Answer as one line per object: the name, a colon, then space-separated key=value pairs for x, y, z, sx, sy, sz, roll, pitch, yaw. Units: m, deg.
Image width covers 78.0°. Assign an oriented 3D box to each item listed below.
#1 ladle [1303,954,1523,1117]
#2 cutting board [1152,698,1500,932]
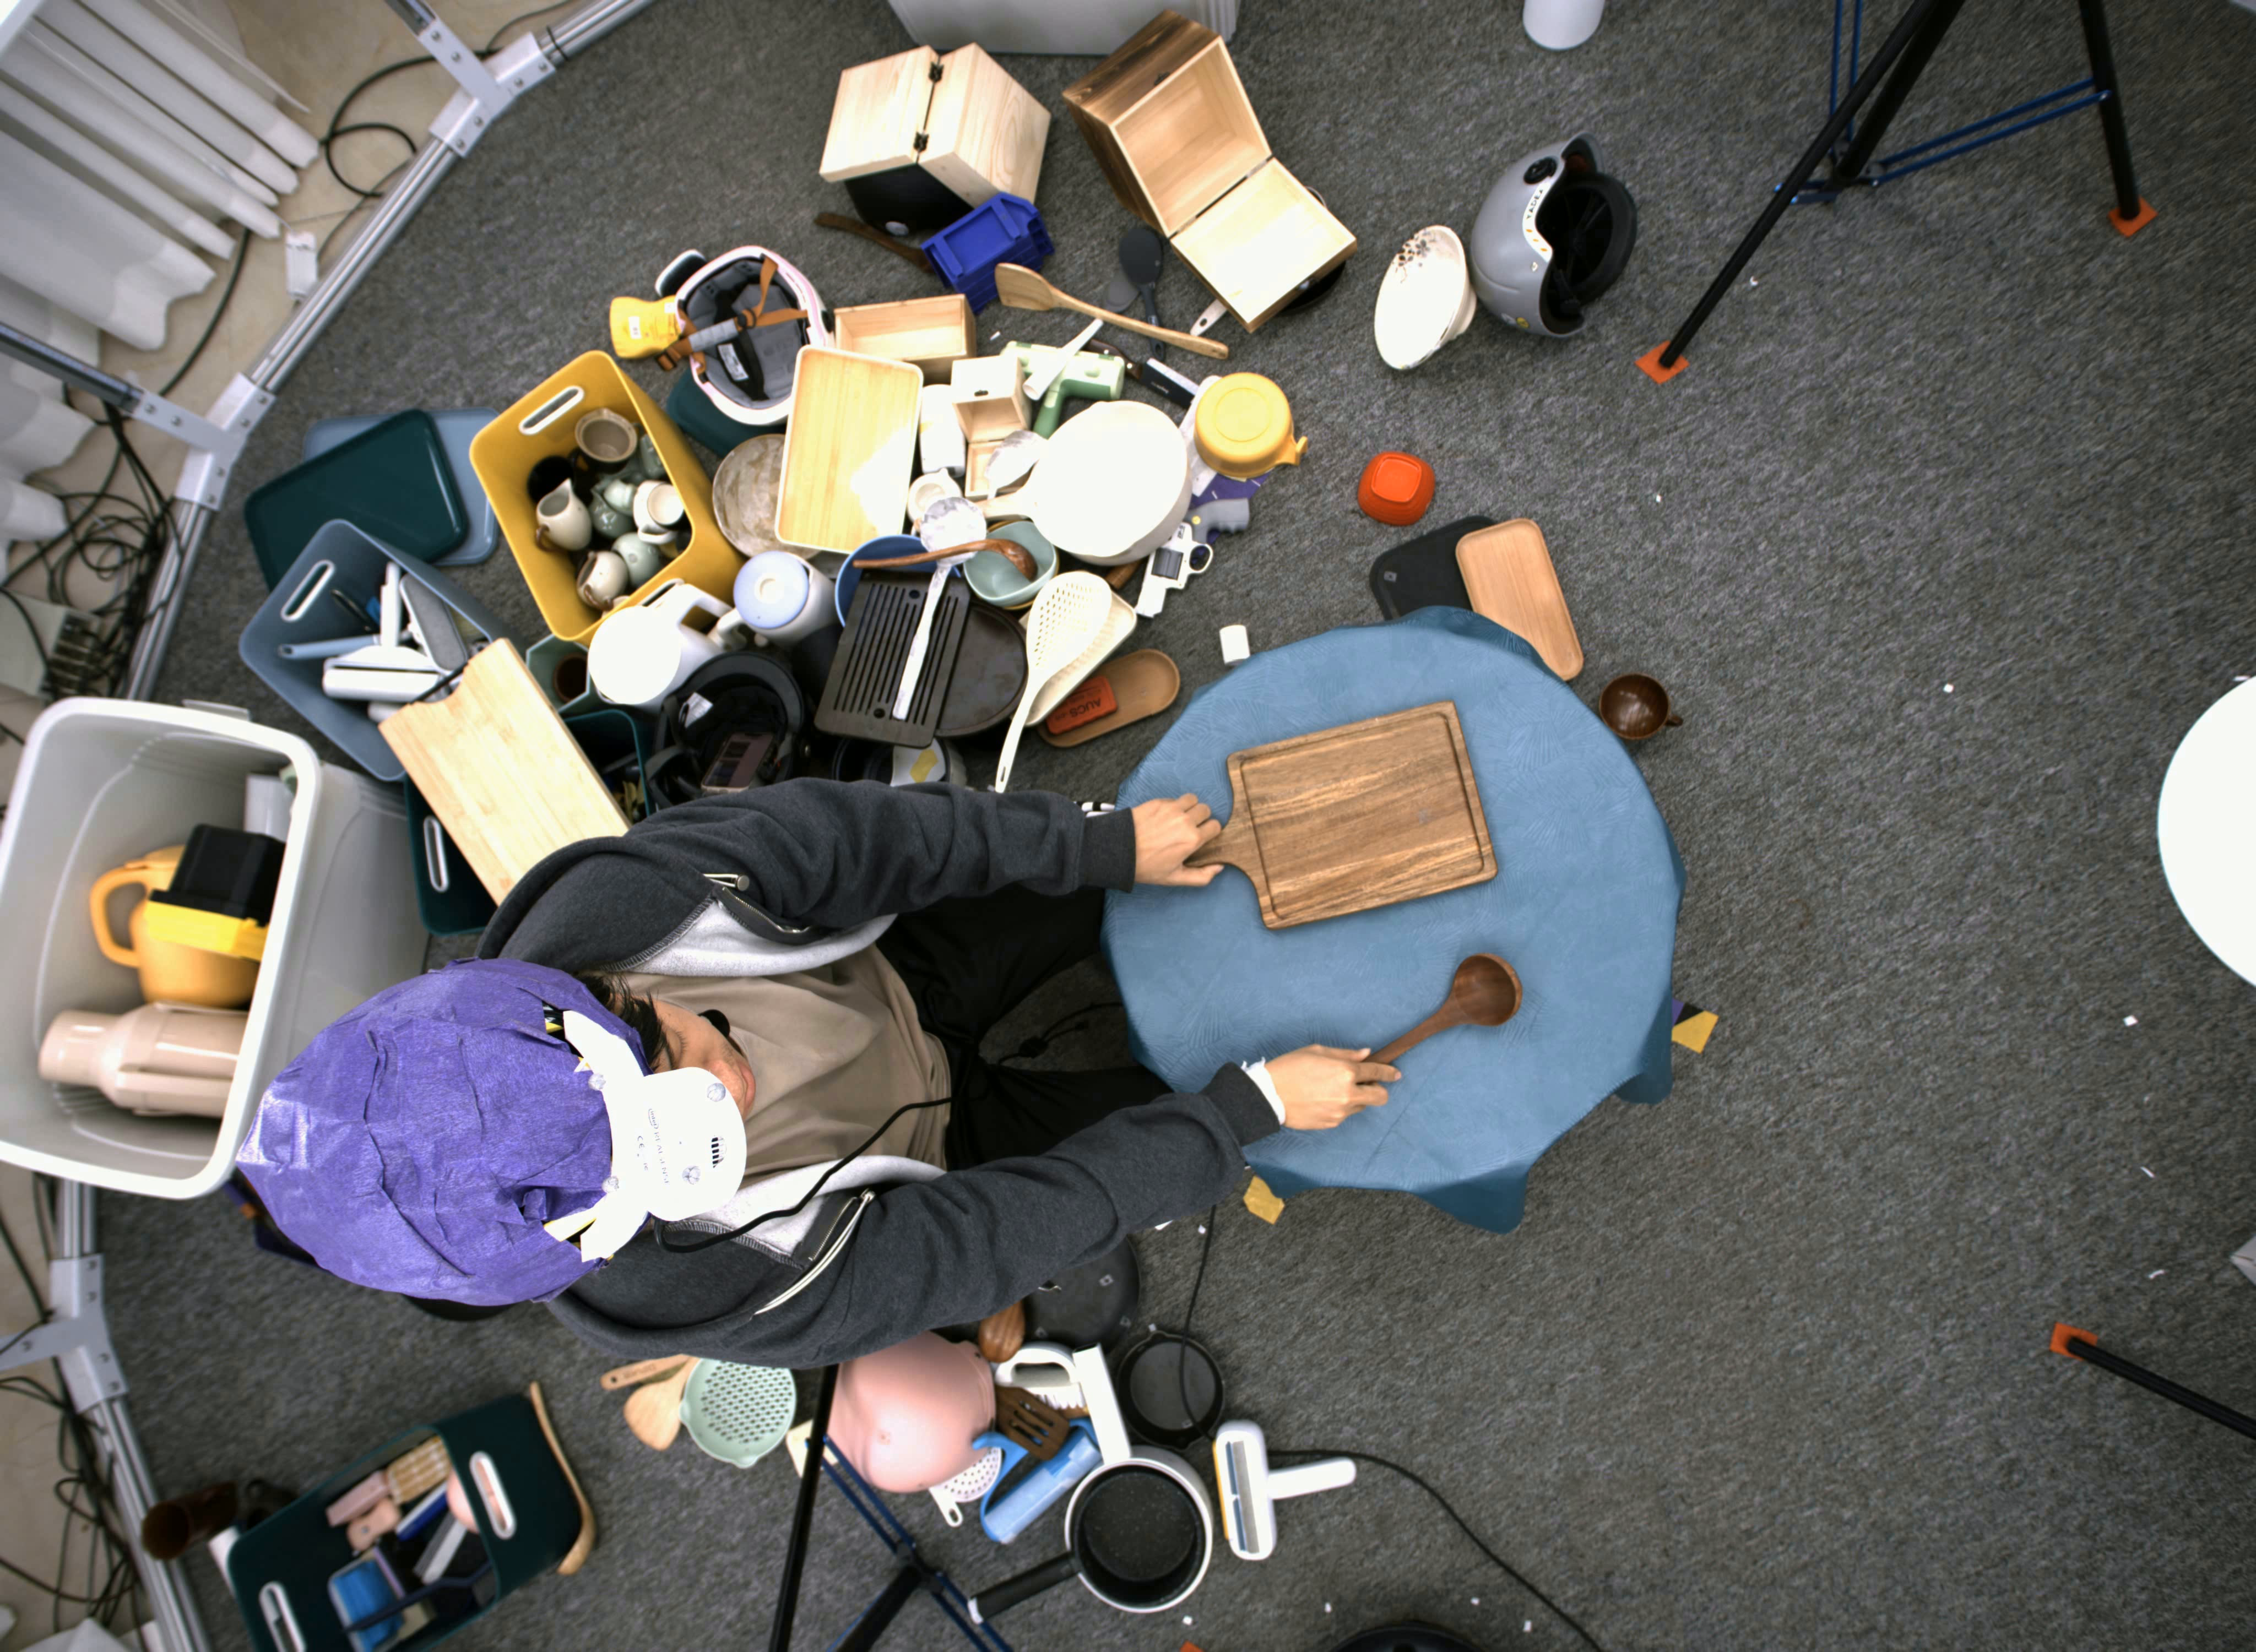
ladle: x=0.287 y=0.219 z=1.415 sx=0.262 sy=0.065 sz=0.075 roll=-34 pitch=68 yaw=7
cutting board: x=0.197 y=-0.001 z=1.462 sx=0.354 sy=0.023 sz=0.200 roll=-14 pitch=84 yaw=8
